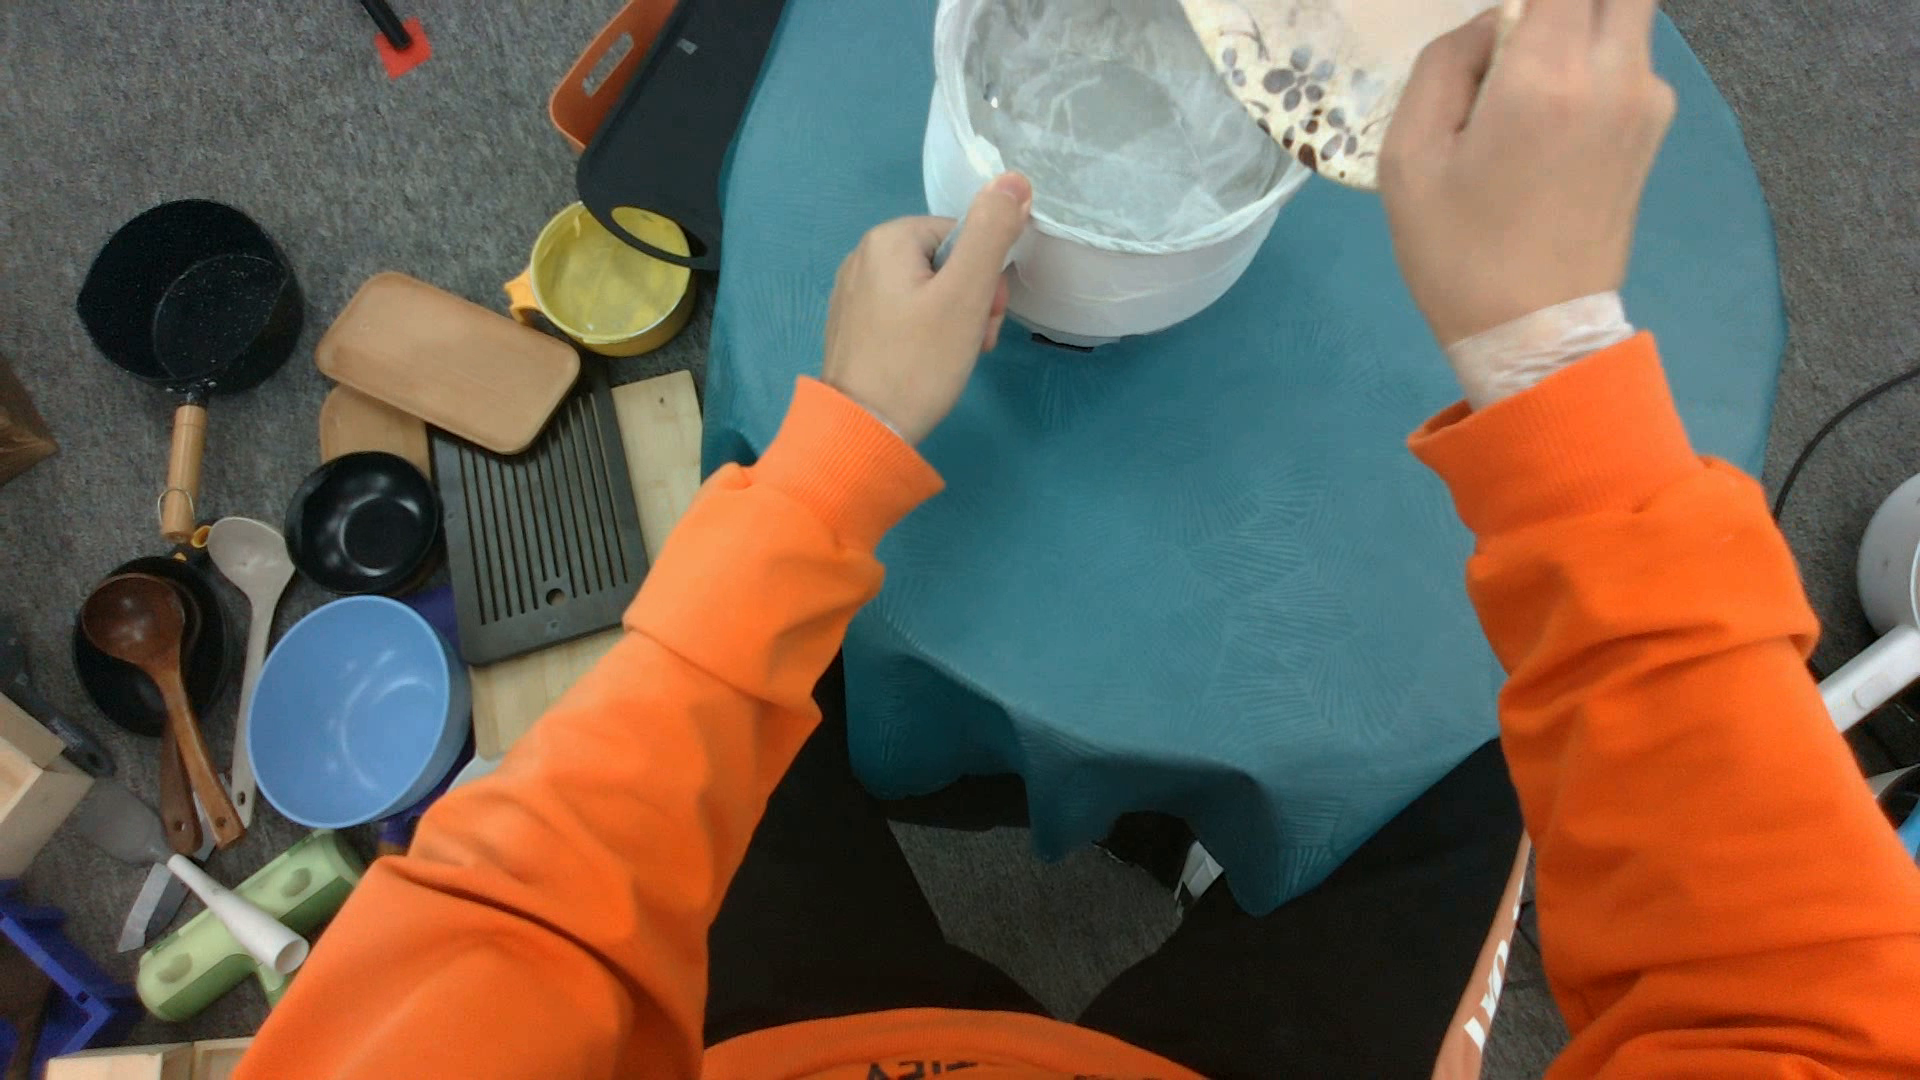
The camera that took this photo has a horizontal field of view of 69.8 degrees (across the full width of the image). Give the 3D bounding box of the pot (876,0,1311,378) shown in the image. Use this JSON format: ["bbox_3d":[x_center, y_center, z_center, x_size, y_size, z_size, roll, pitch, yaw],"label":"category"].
[{"bbox_3d":[0.048,-0.178,0.651,0.179,0.136,0.234,39,77,4],"label":"pot"}]

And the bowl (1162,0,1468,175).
[{"bbox_3d":[0.134,-0.240,0.498,0.078,0.203,0.204,-36,77,-4],"label":"bowl"}]
